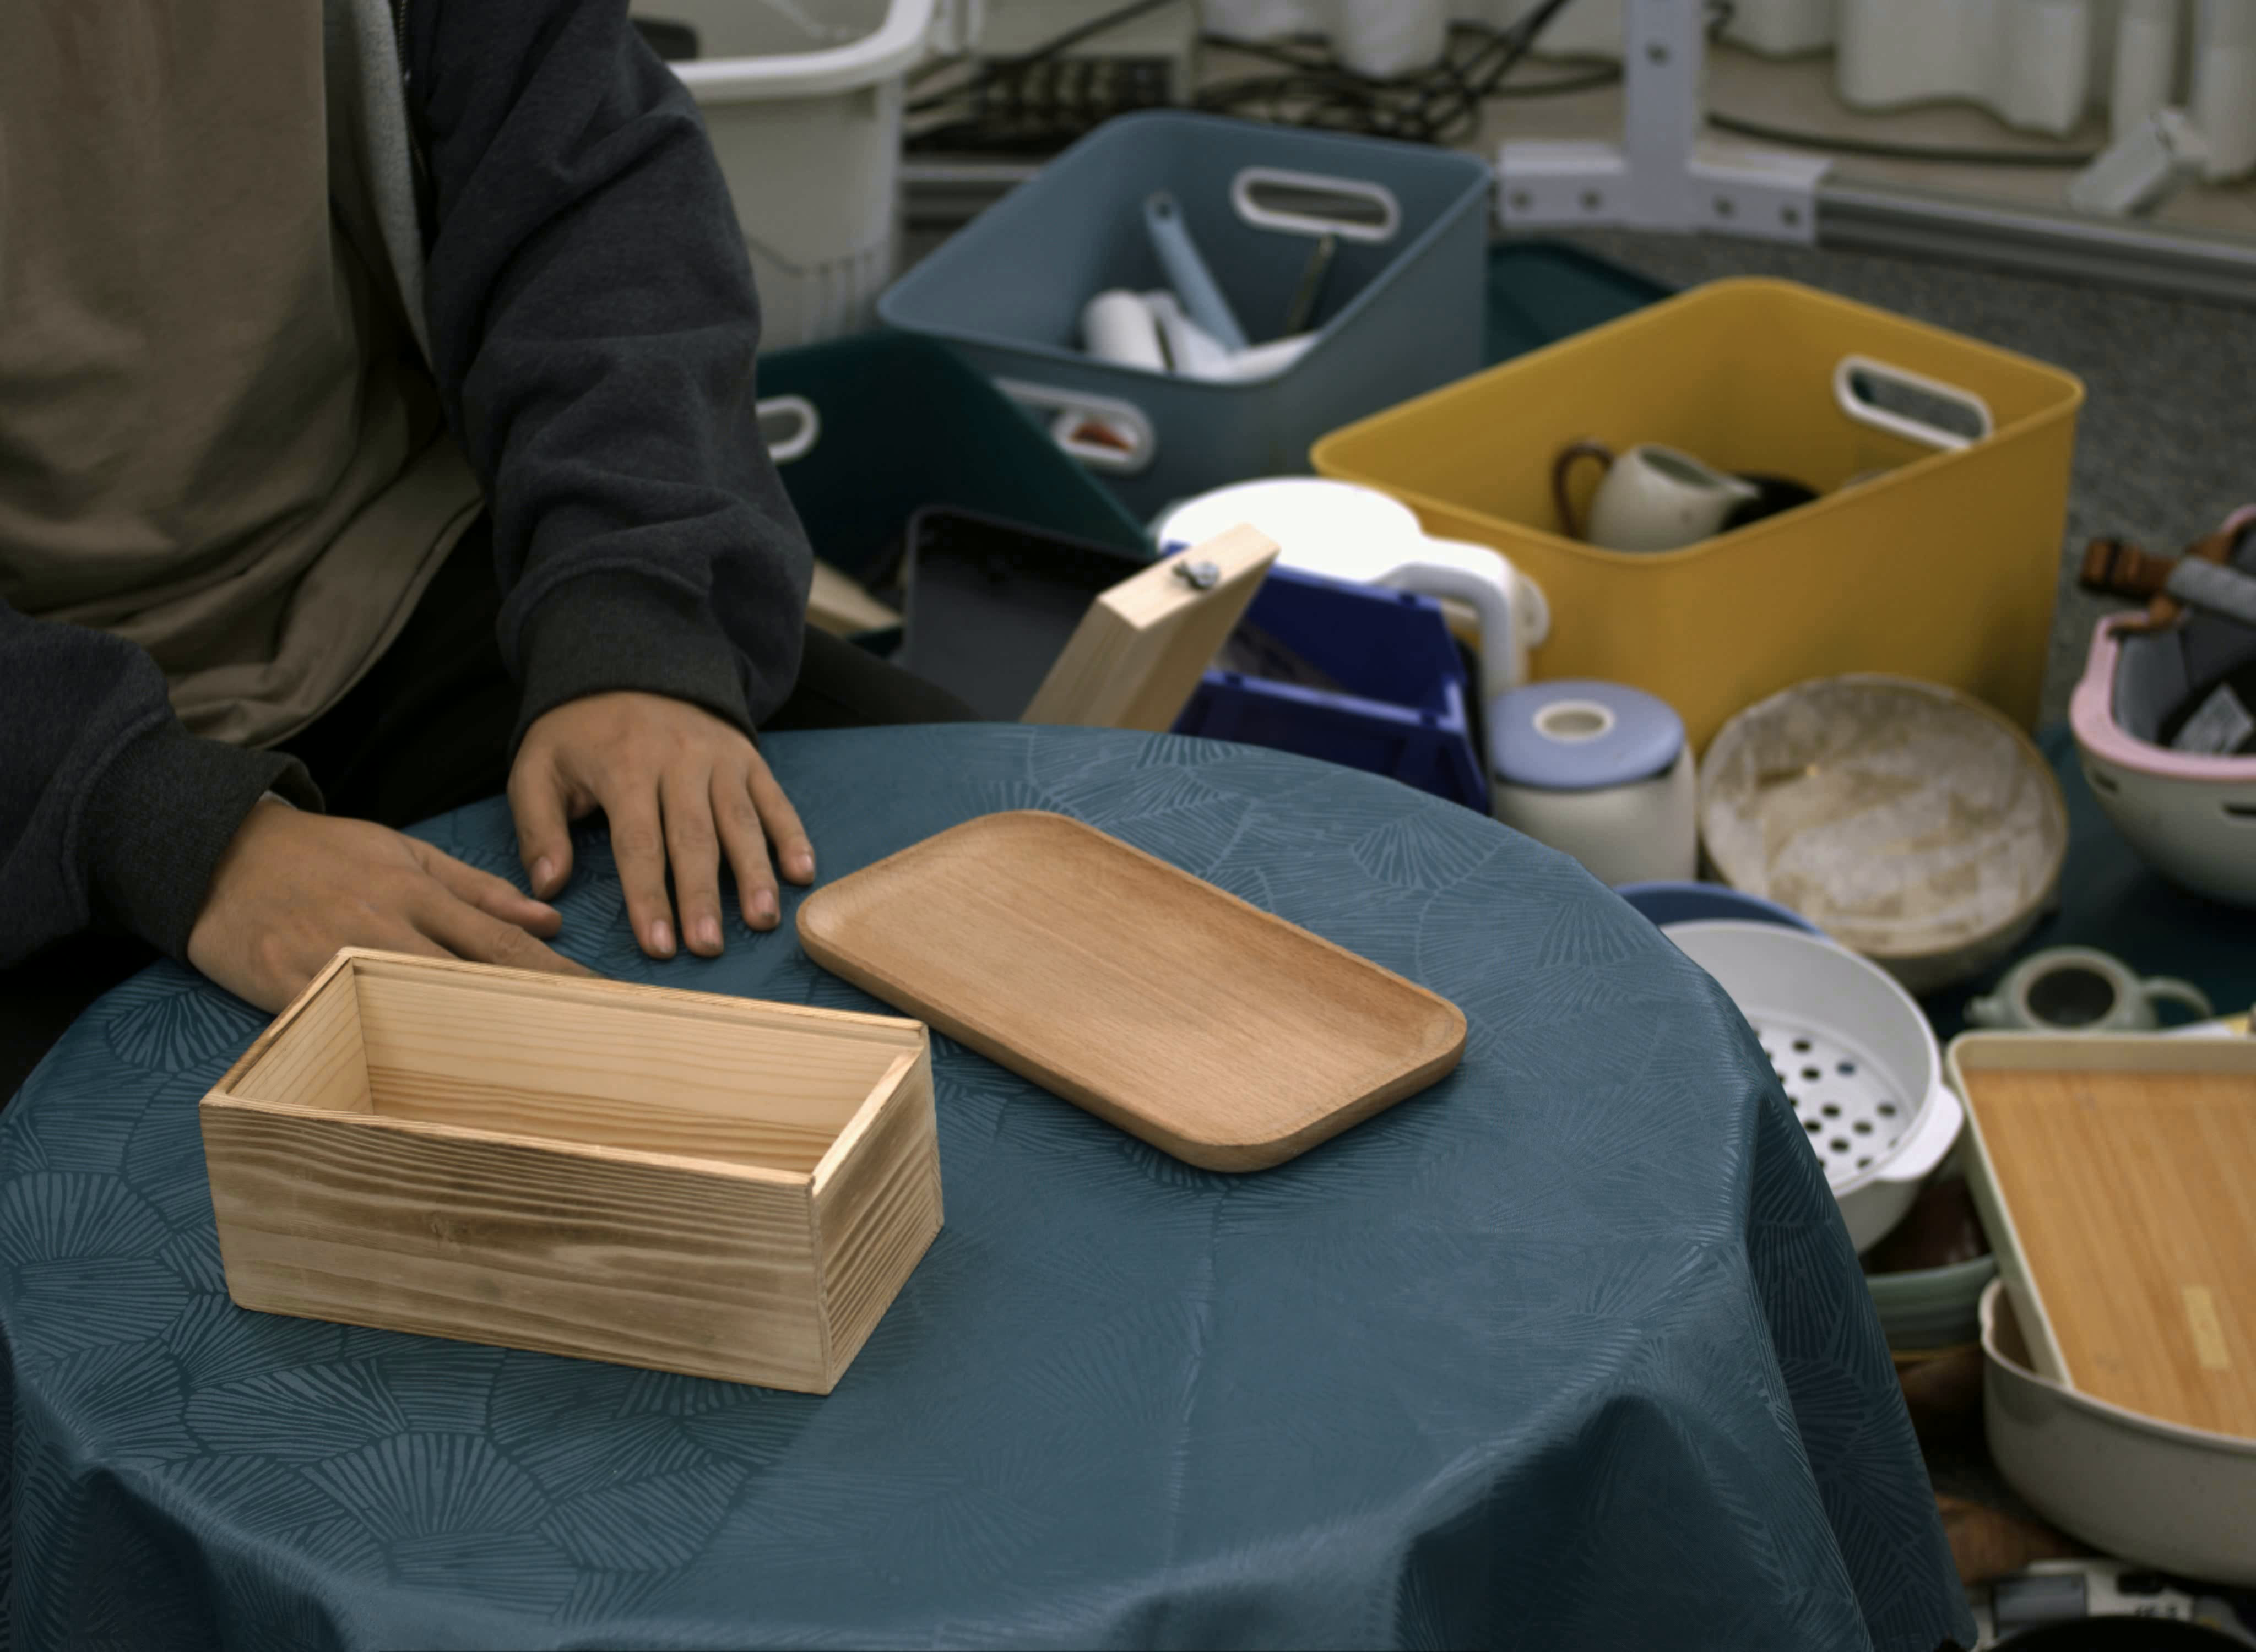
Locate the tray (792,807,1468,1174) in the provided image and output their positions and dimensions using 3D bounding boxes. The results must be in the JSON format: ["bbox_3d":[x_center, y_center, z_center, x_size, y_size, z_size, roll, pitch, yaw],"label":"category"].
[{"bbox_3d":[-0.002,0.056,1.971,0.132,0.022,0.250,-21,32,-36],"label":"tray"}]

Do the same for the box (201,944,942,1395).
[{"bbox_3d":[-0.179,0.110,1.818,0.210,0.079,0.109,6,28,18],"label":"box"}]
